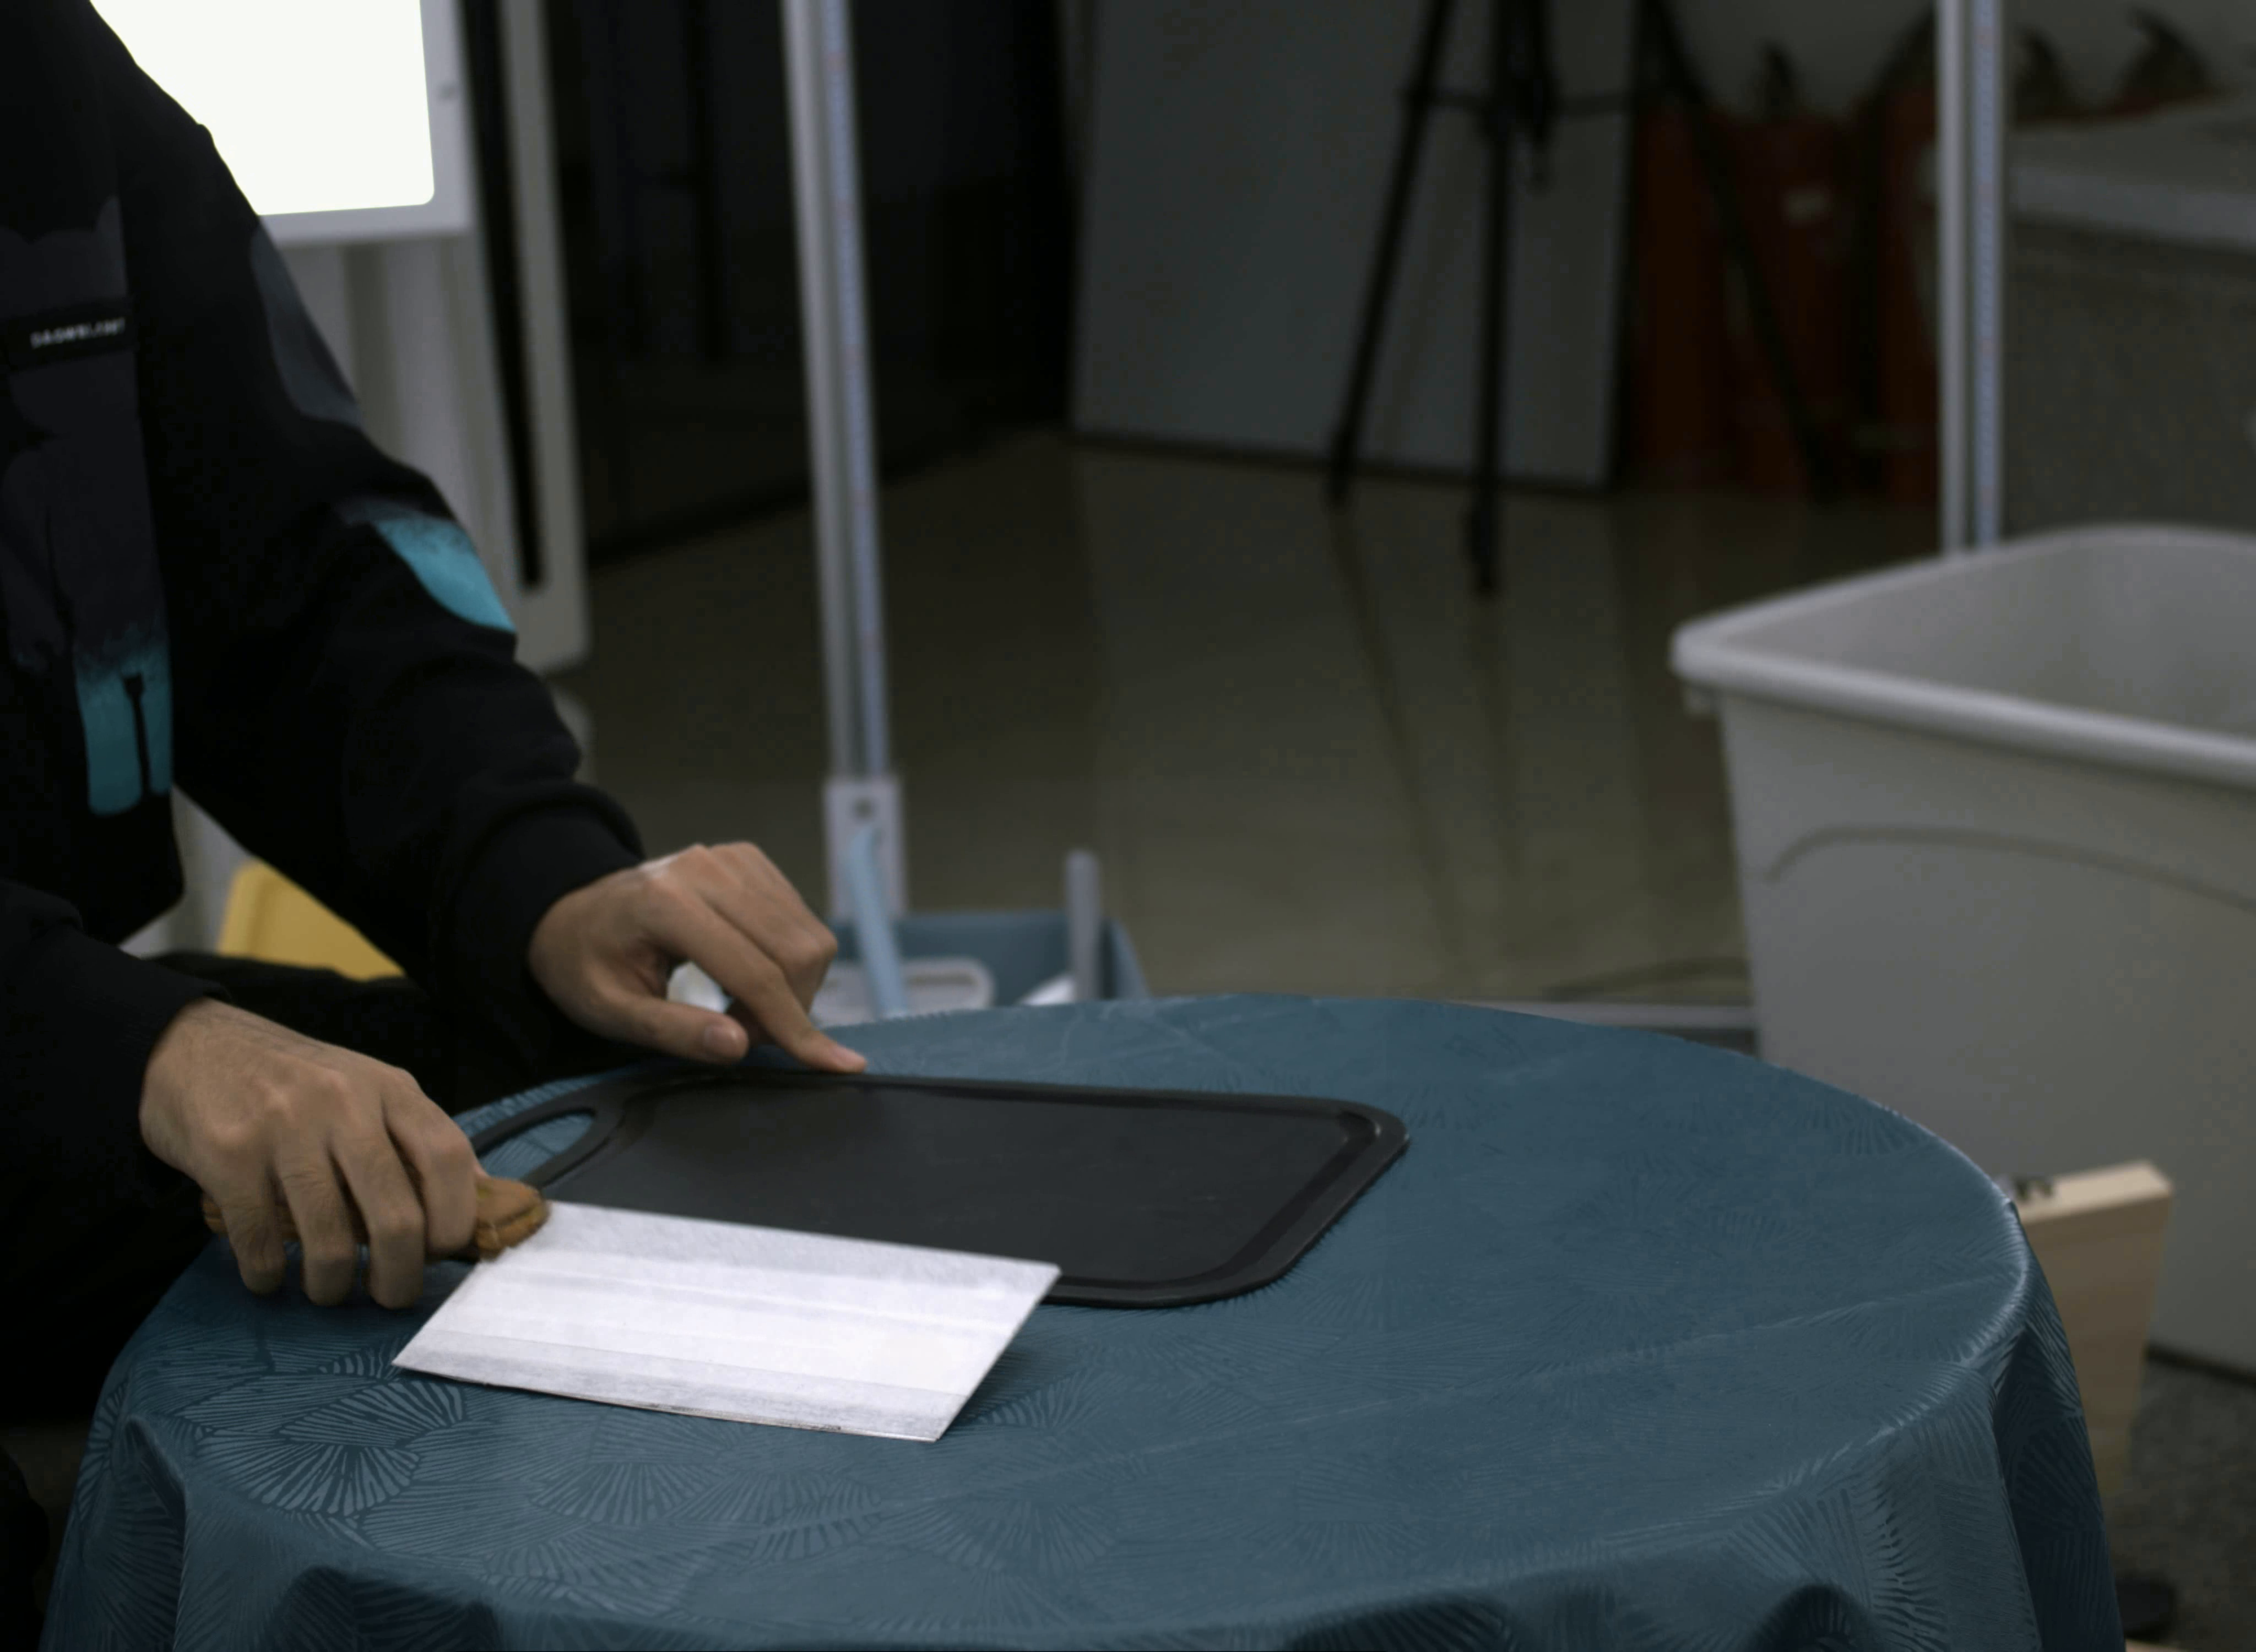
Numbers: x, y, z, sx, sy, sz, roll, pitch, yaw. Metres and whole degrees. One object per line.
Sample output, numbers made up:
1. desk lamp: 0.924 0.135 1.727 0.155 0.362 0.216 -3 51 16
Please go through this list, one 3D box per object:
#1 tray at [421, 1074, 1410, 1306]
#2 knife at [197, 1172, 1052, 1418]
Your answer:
1. tray: -0.079 0.117 1.795 0.325 0.010 0.209 2 15 23
2. knife: -0.170 0.146 1.661 0.306 0.021 0.092 4 31 28
